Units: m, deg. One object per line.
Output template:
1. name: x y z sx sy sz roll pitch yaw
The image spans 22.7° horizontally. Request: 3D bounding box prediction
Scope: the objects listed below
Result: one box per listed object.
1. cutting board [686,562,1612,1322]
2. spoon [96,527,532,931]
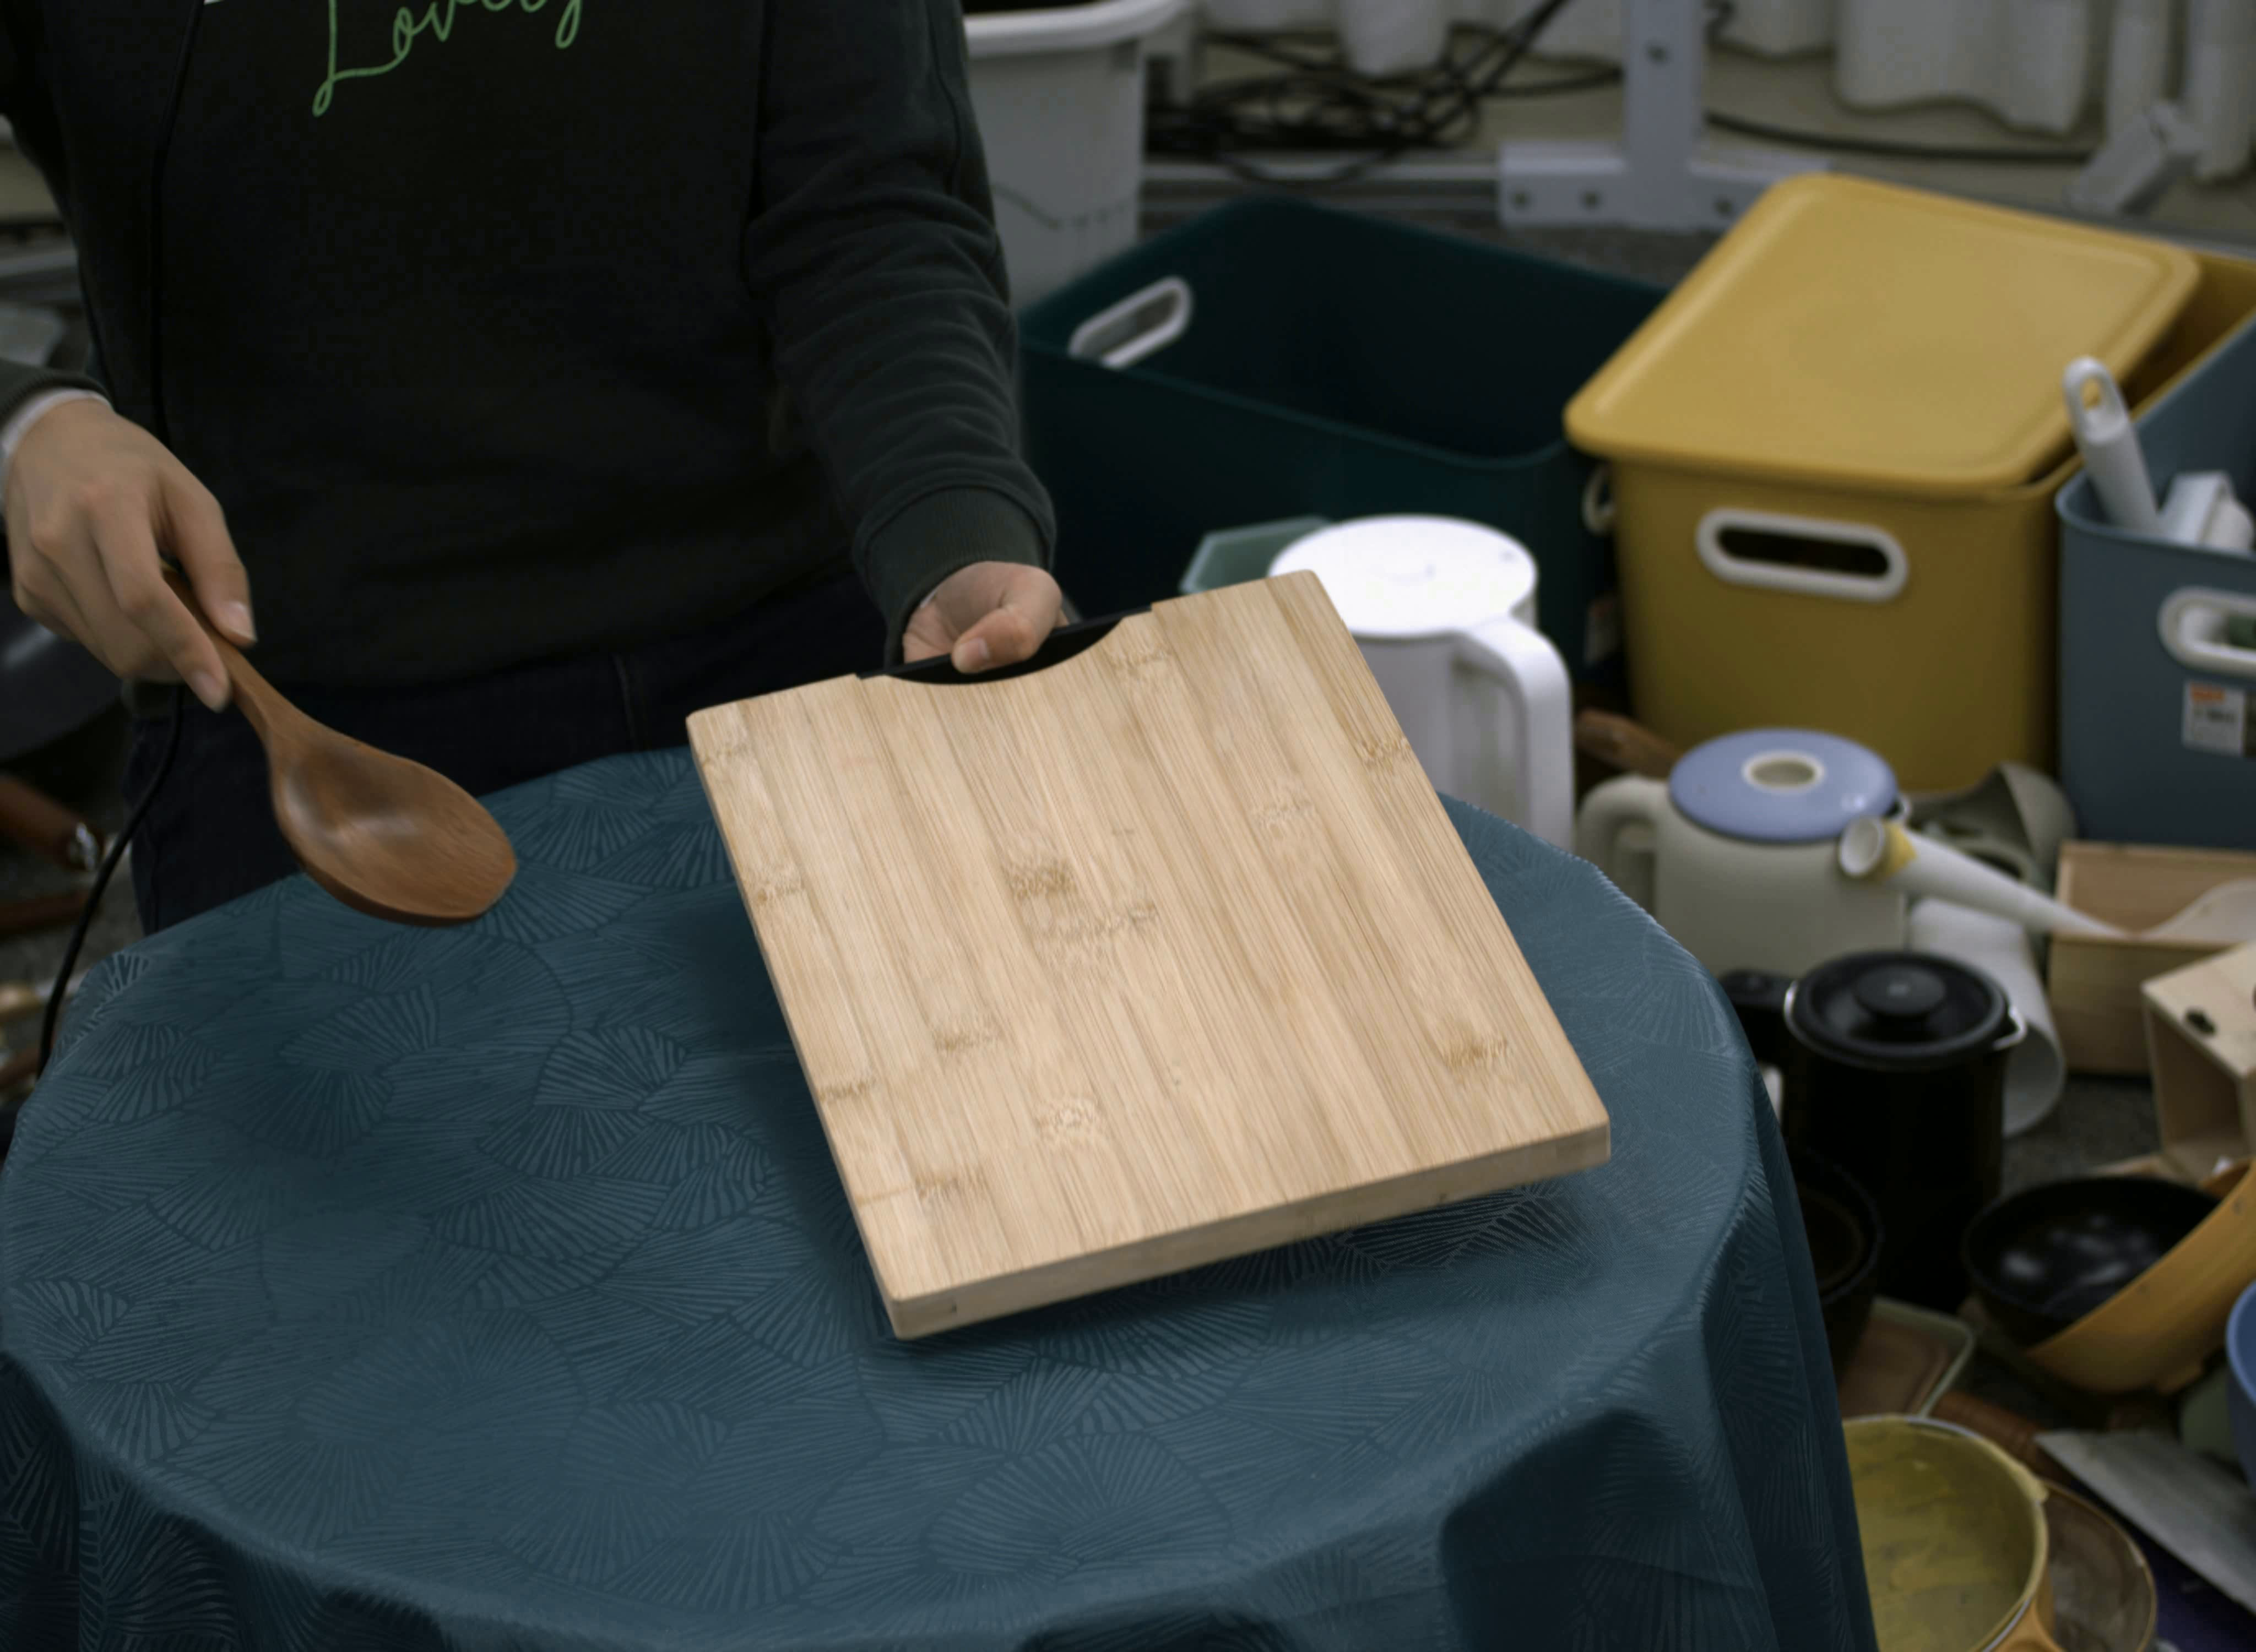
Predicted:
1. cutting board: -0.002 0.032 1.925 0.250 0.023 0.353 -13 36 -10
2. spoon: -0.275 -0.031 1.858 0.076 0.017 0.217 -18 50 -41
